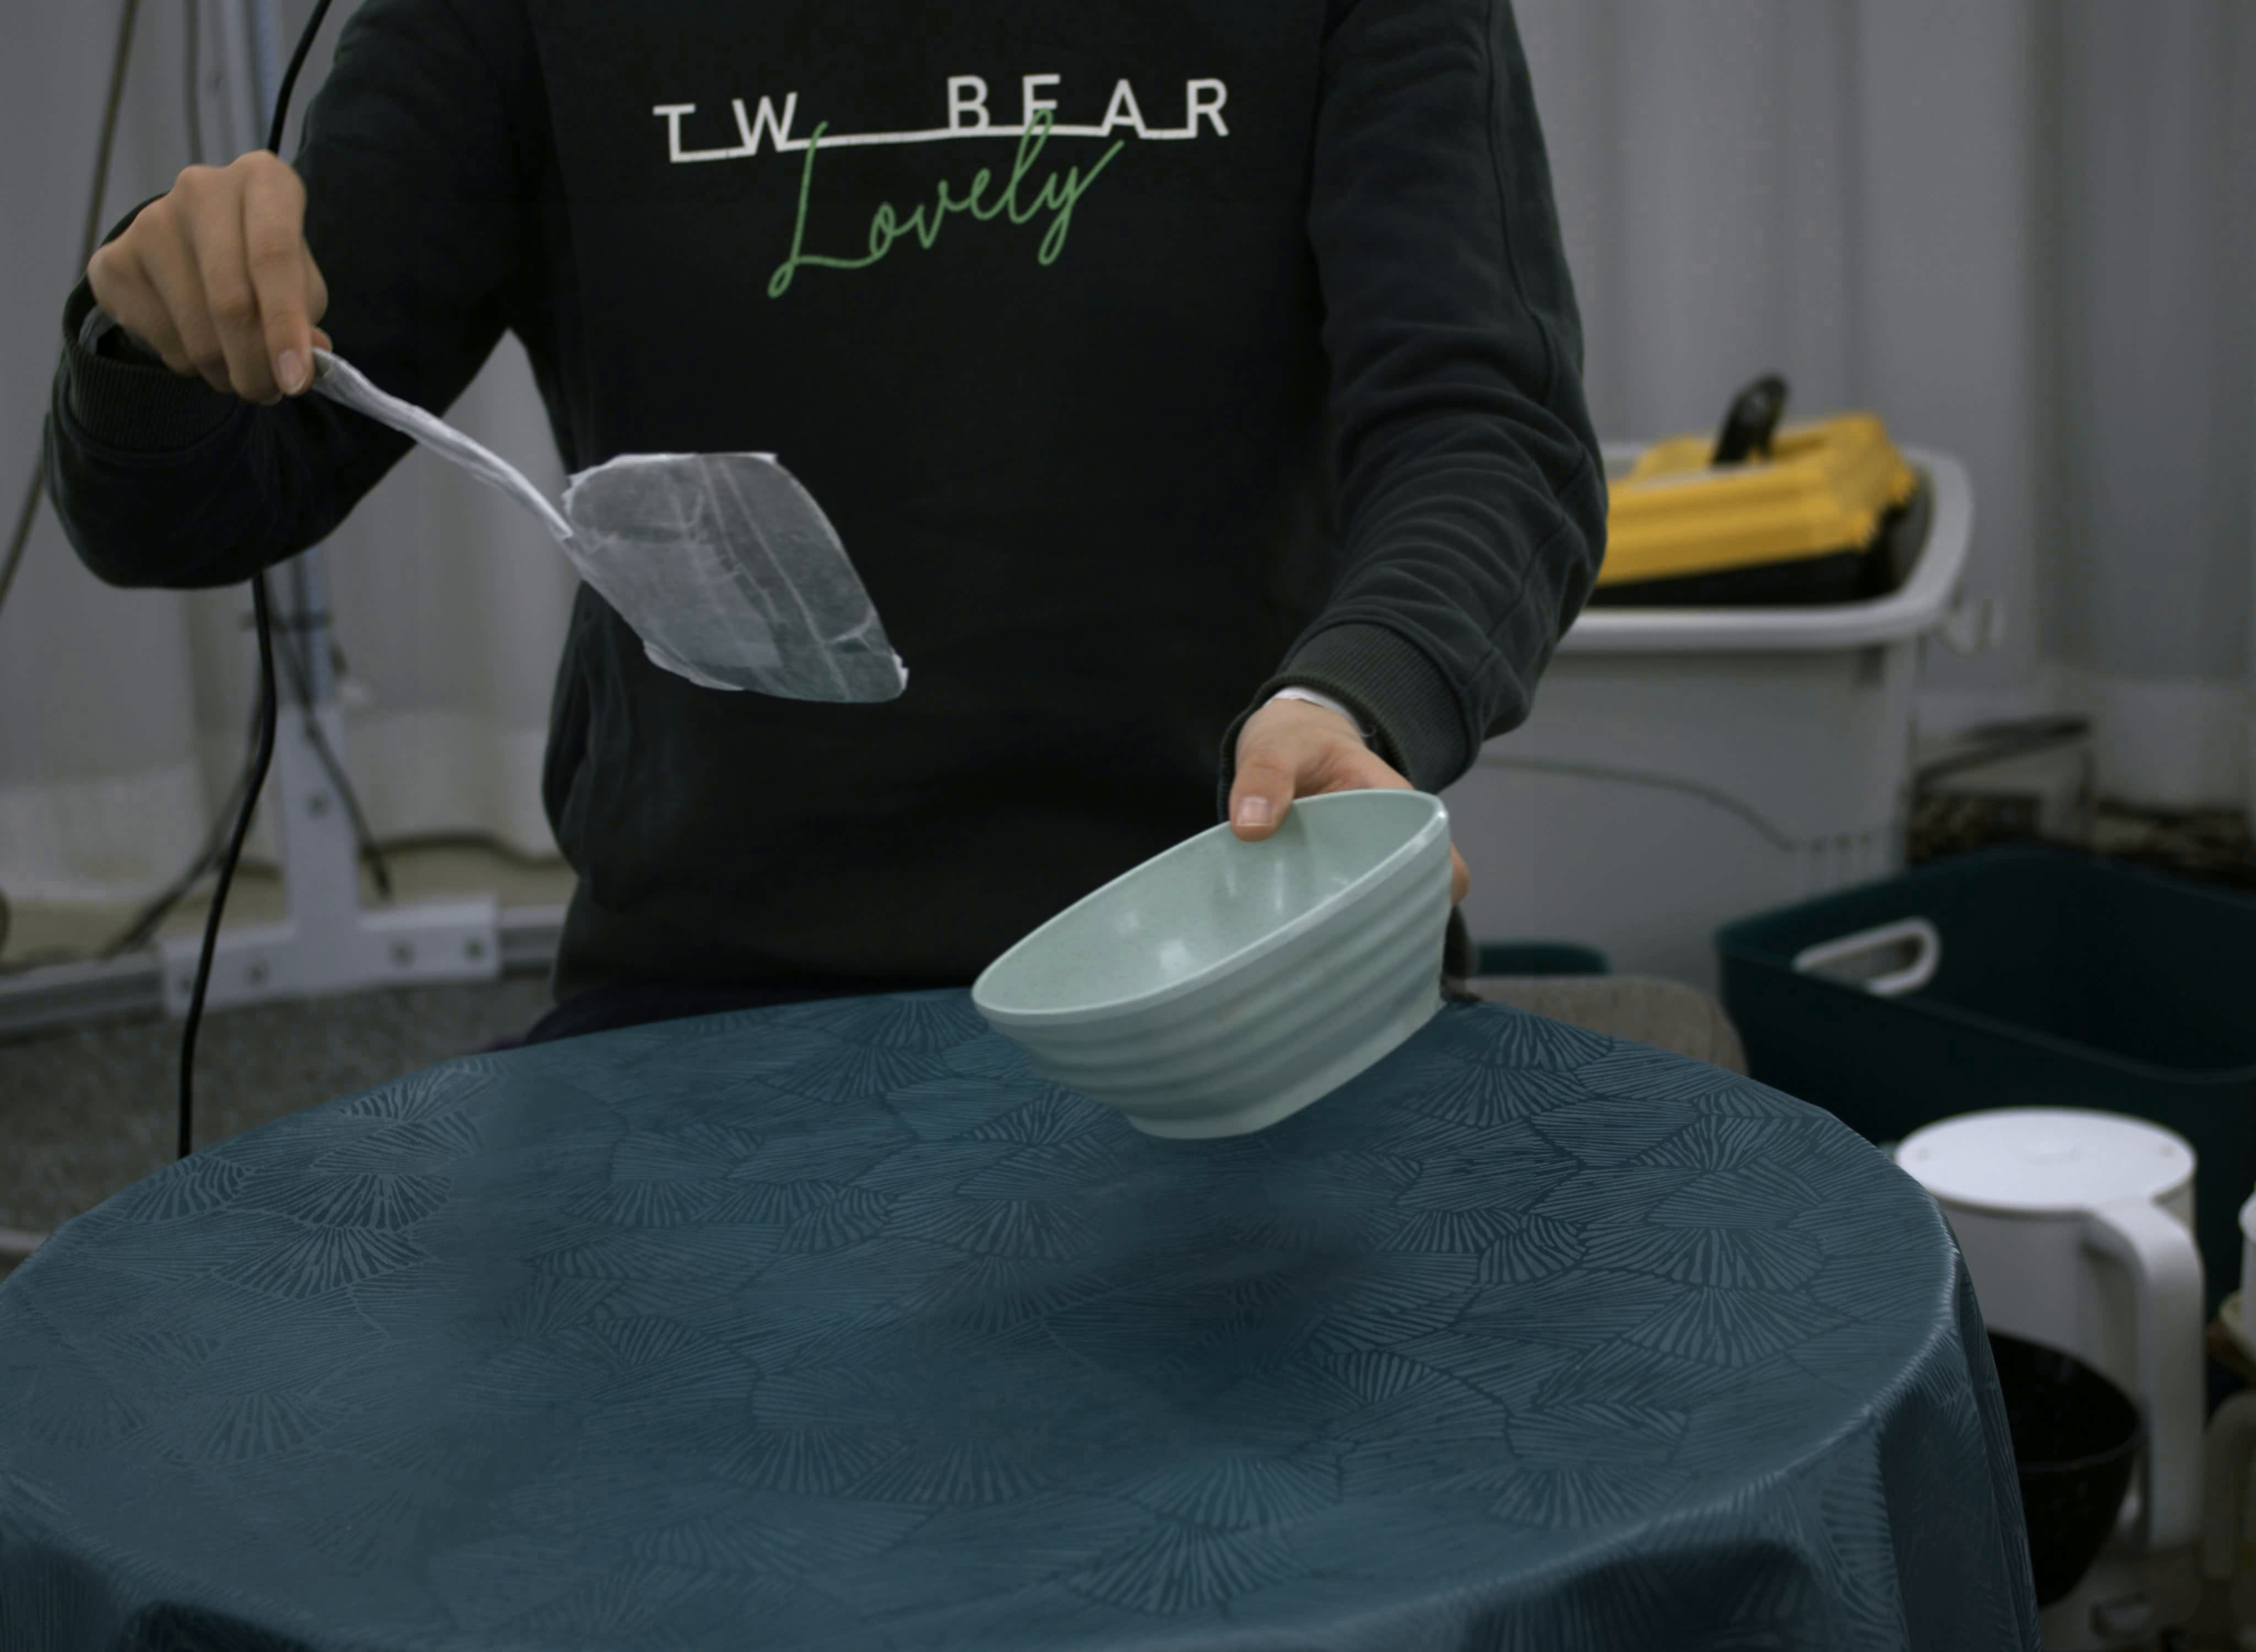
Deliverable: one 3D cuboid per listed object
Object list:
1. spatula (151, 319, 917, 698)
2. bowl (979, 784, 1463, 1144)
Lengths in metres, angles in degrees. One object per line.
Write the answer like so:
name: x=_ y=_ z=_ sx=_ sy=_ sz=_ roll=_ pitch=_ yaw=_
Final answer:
spatula: x=-0.195 y=-0.112 z=1.653 sx=0.045 sy=0.097 sz=0.368 roll=-43 pitch=41 yaw=-17
bowl: x=0.036 y=0.046 z=1.594 sx=0.151 sy=0.058 sz=0.152 roll=-22 pitch=17 yaw=6
